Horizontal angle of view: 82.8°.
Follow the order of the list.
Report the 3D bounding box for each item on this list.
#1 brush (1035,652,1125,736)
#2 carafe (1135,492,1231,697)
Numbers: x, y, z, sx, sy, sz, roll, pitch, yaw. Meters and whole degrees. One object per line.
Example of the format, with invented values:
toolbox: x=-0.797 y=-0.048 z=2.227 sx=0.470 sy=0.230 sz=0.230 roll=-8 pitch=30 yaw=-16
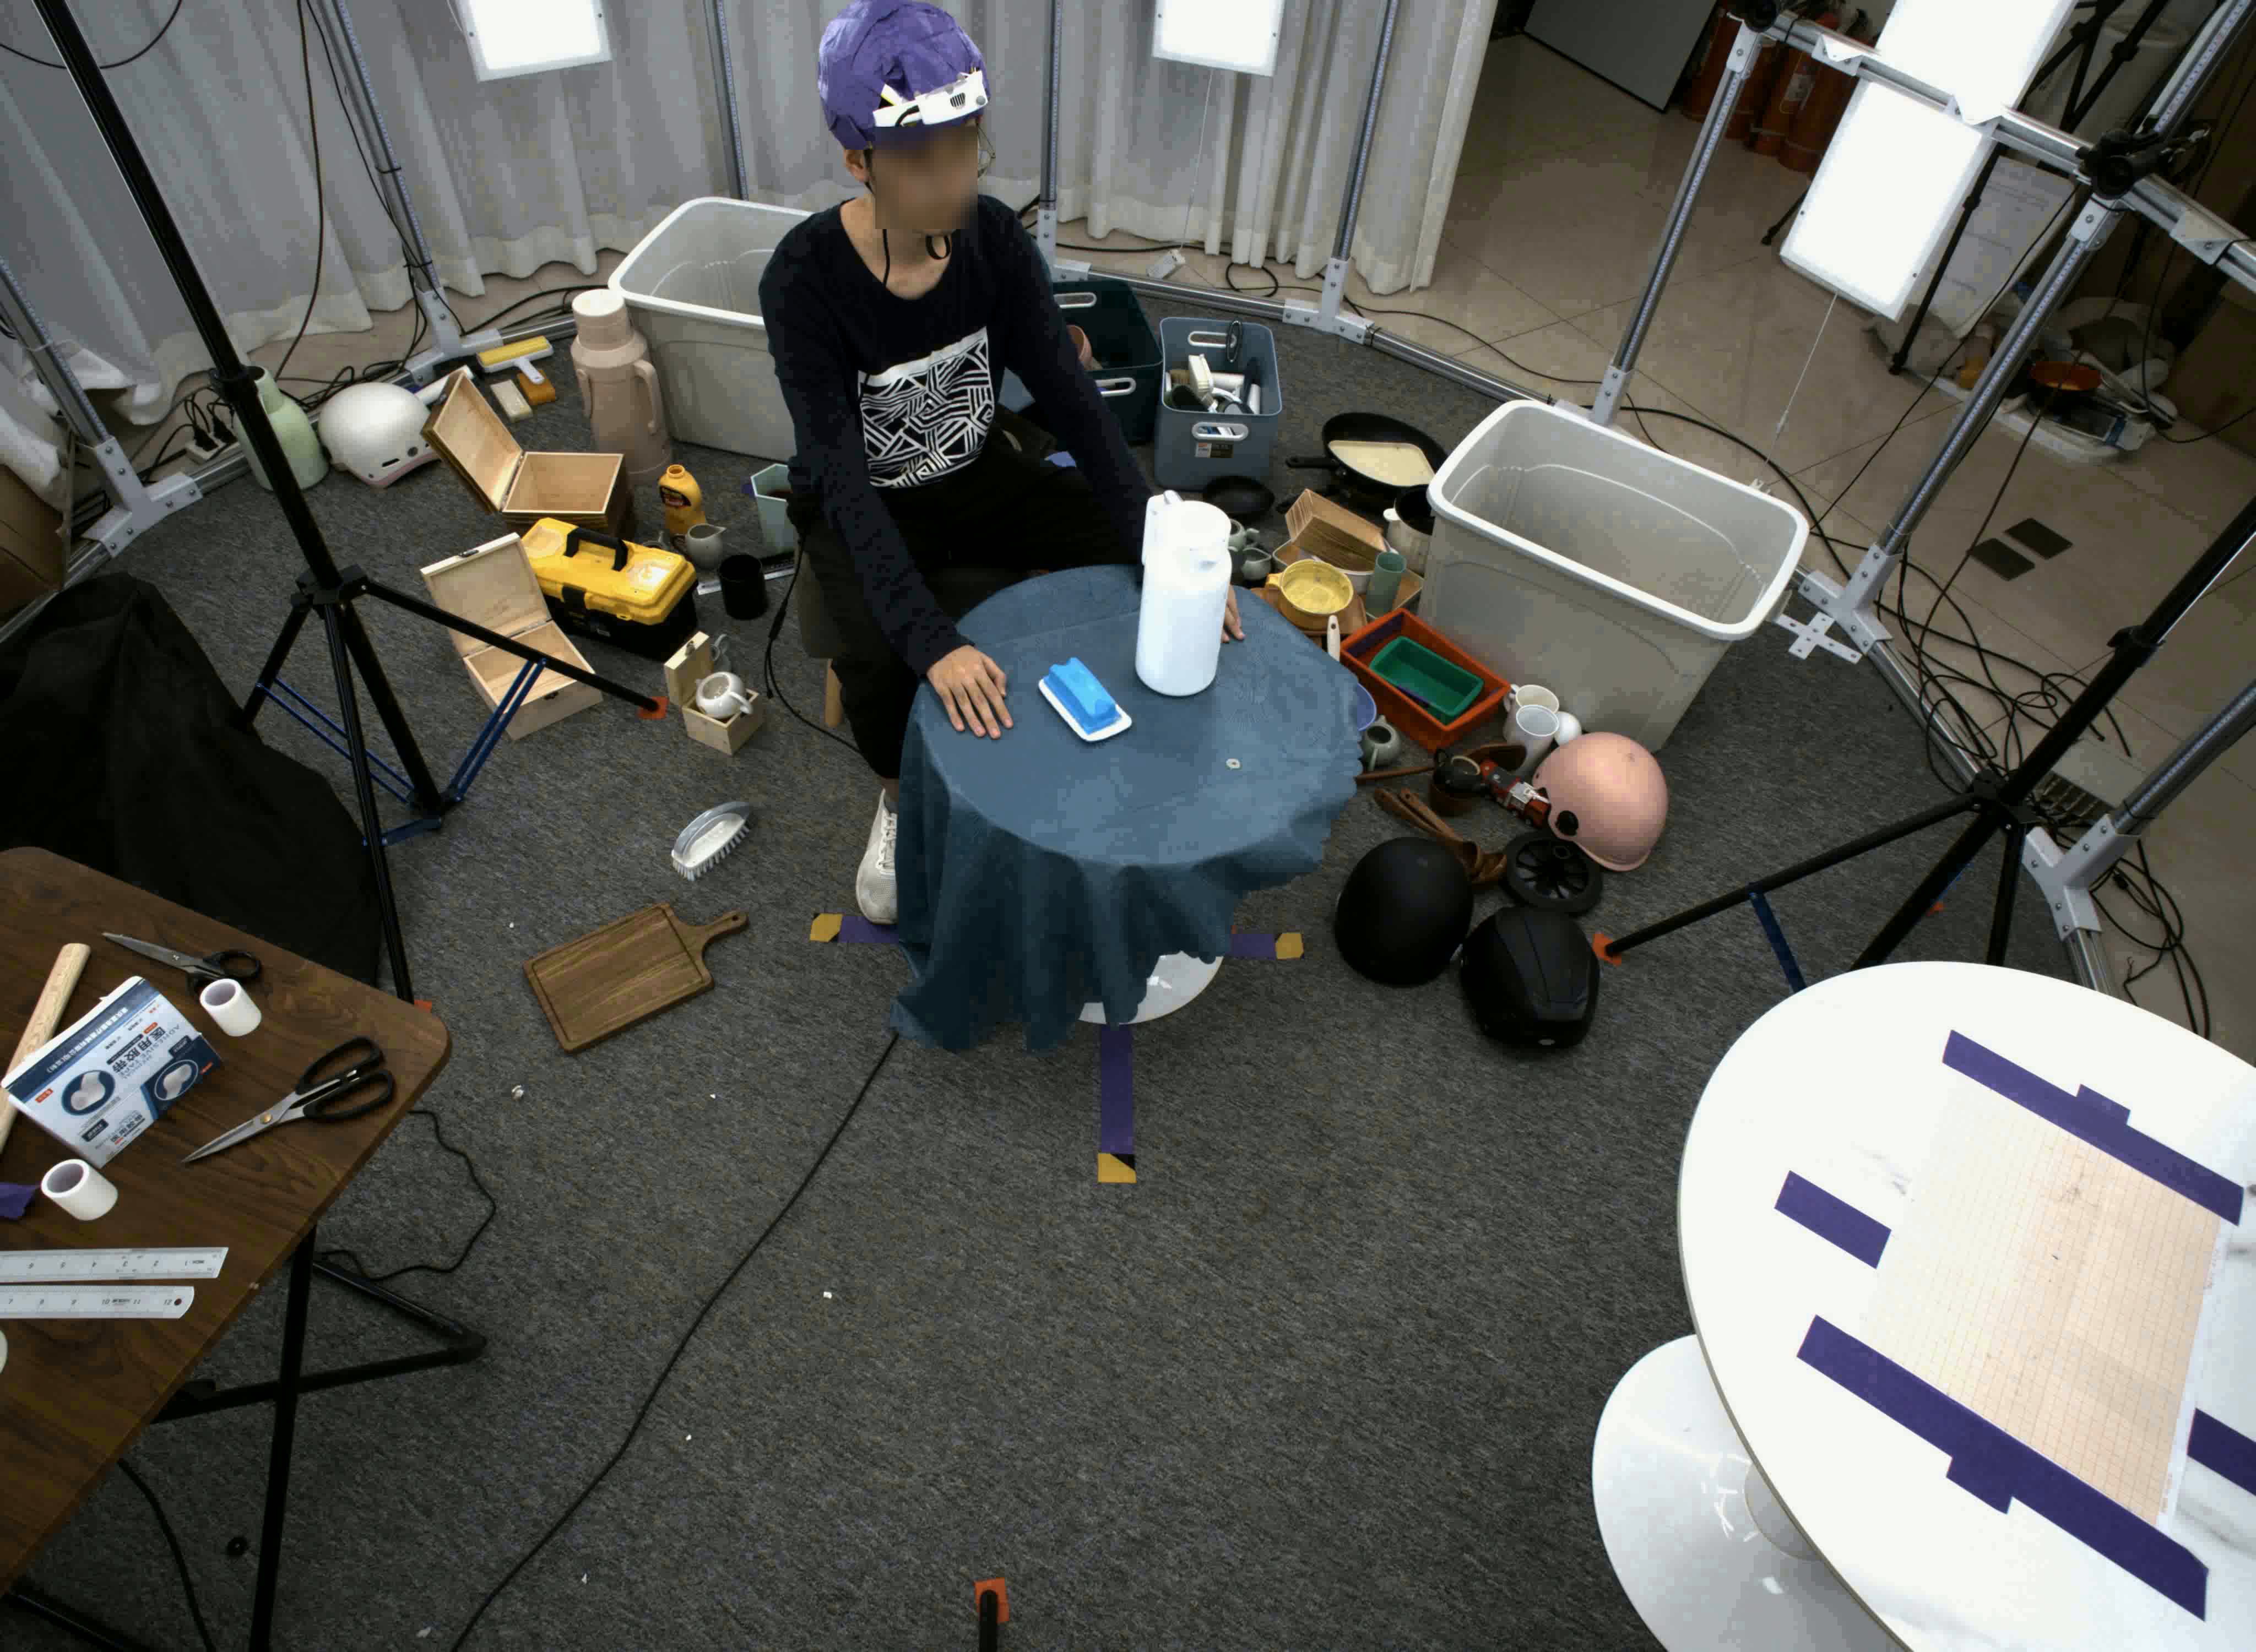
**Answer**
brush: x=-0.065 y=-0.191 z=1.789 sx=0.084 sy=0.054 sz=0.147 roll=-20 pitch=56 yaw=-24
carafe: x=0.067 y=-0.322 z=1.781 sx=0.124 sy=0.262 sz=0.176 roll=-20 pitch=52 yaw=-18
